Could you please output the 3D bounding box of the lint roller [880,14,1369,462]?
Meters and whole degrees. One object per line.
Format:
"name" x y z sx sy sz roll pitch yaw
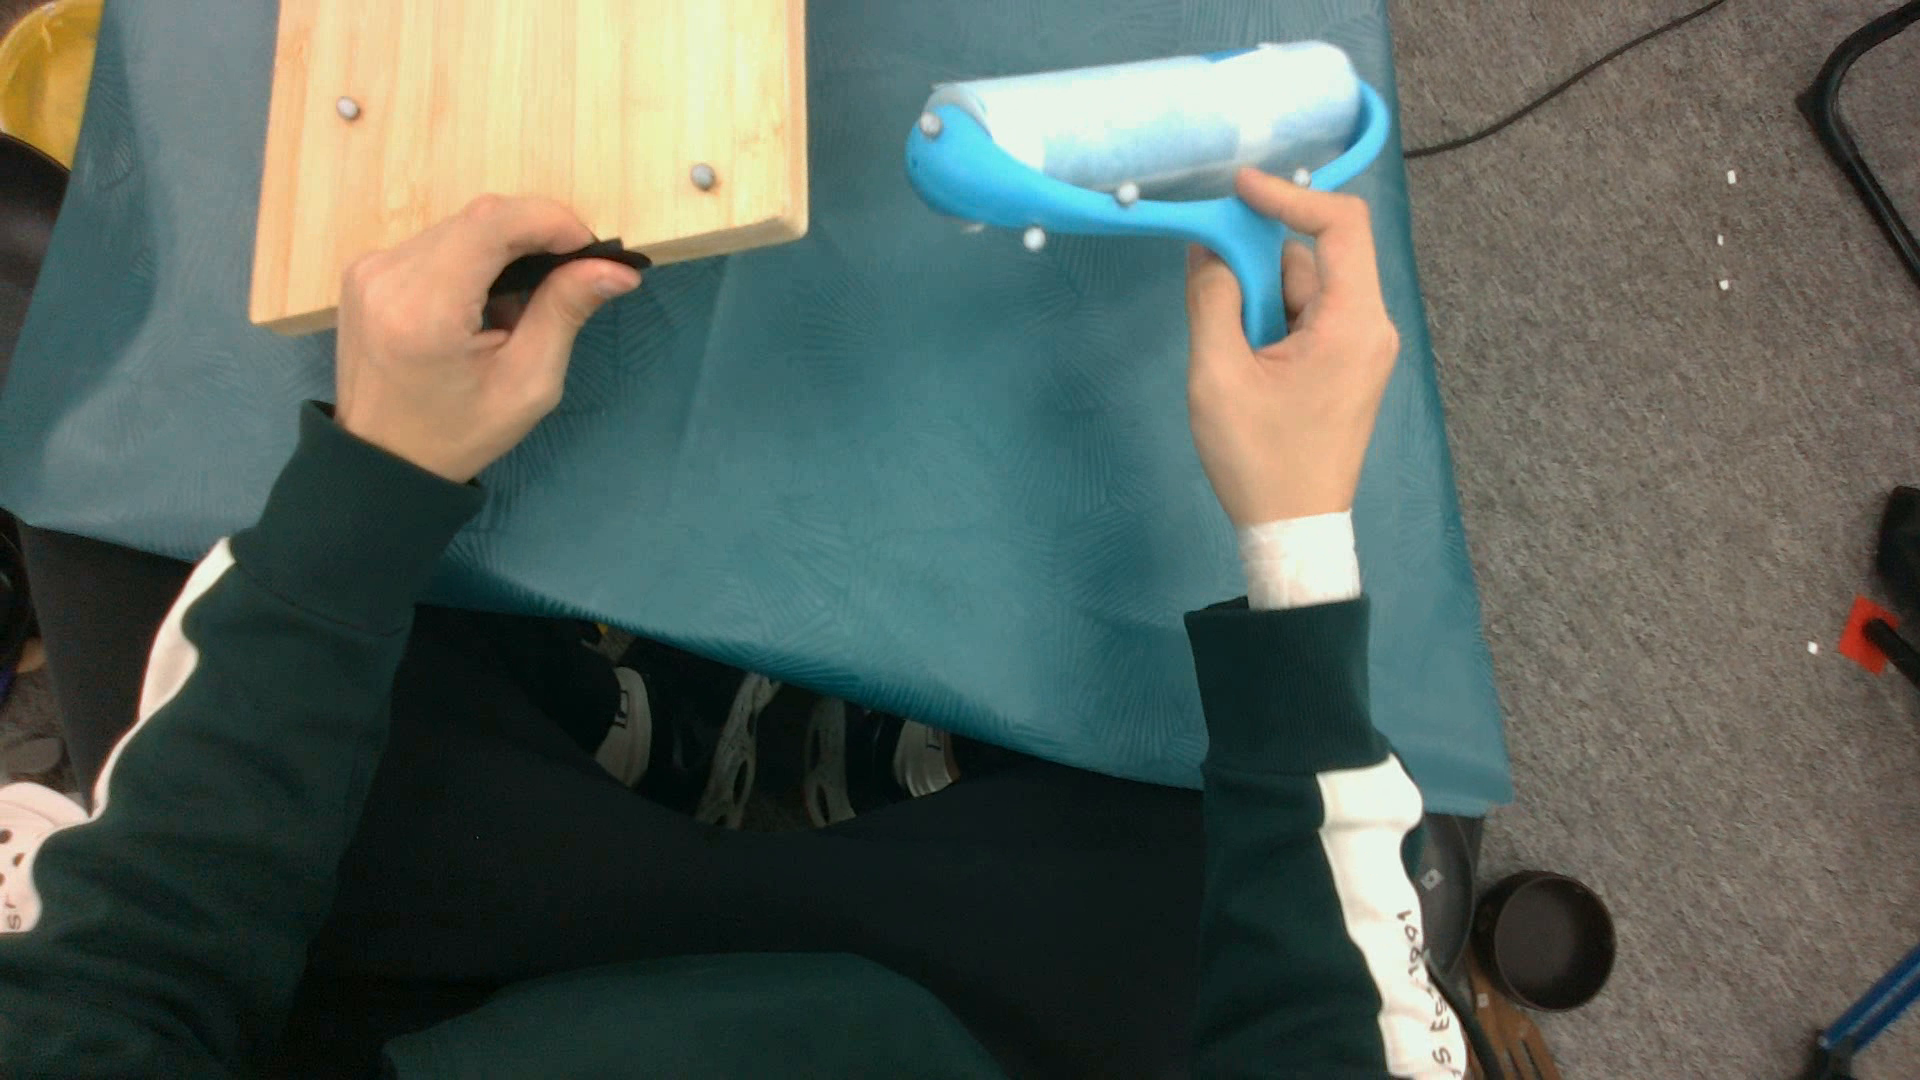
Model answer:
"lint roller" 0.094 -0.125 0.565 0.230 0.067 0.180 -20 84 -28

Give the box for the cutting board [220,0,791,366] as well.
"cutting board" -0.185 -0.253 0.559 0.250 0.023 0.349 -8 75 17
